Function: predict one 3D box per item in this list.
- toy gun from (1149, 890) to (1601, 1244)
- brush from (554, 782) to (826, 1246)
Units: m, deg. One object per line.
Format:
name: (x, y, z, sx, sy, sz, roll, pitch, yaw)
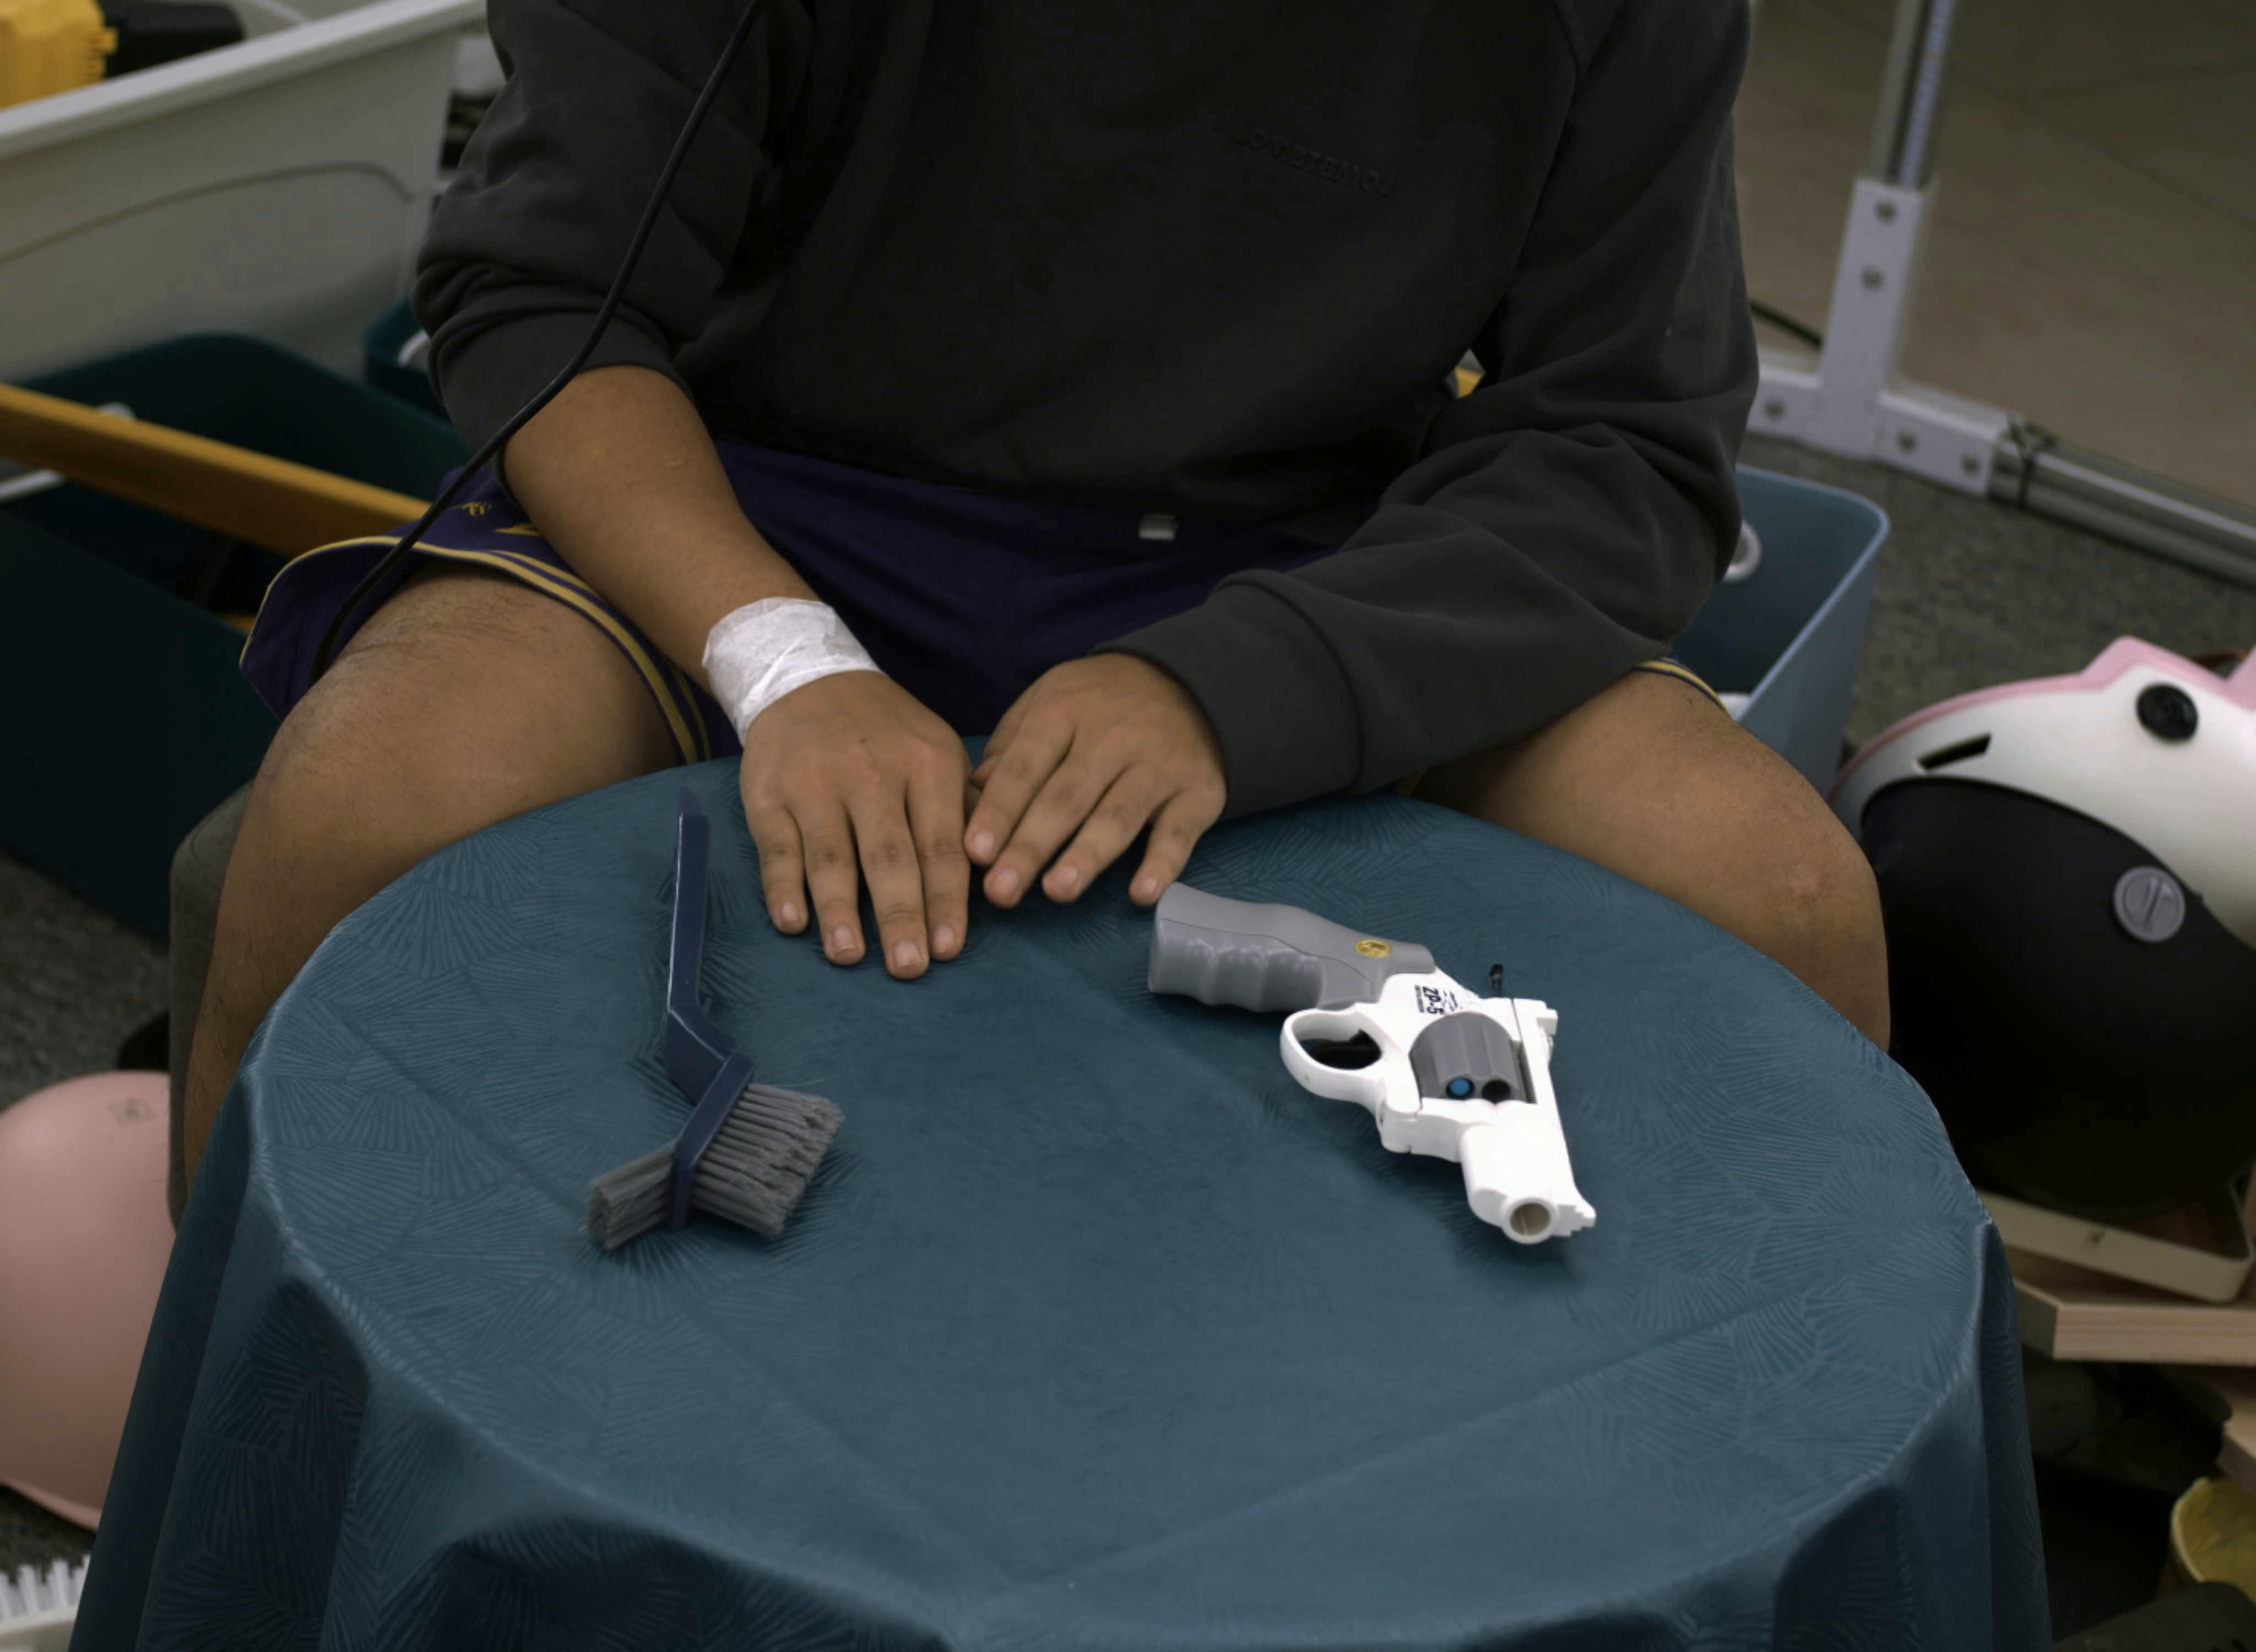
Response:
toy gun: (0.083, 0.082, 1.861, 0.141, 0.038, 0.210, 3, 26, -6)
brush: (-0.160, 0.062, 1.851, 0.095, 0.033, 0.275, 1, 28, -11)
